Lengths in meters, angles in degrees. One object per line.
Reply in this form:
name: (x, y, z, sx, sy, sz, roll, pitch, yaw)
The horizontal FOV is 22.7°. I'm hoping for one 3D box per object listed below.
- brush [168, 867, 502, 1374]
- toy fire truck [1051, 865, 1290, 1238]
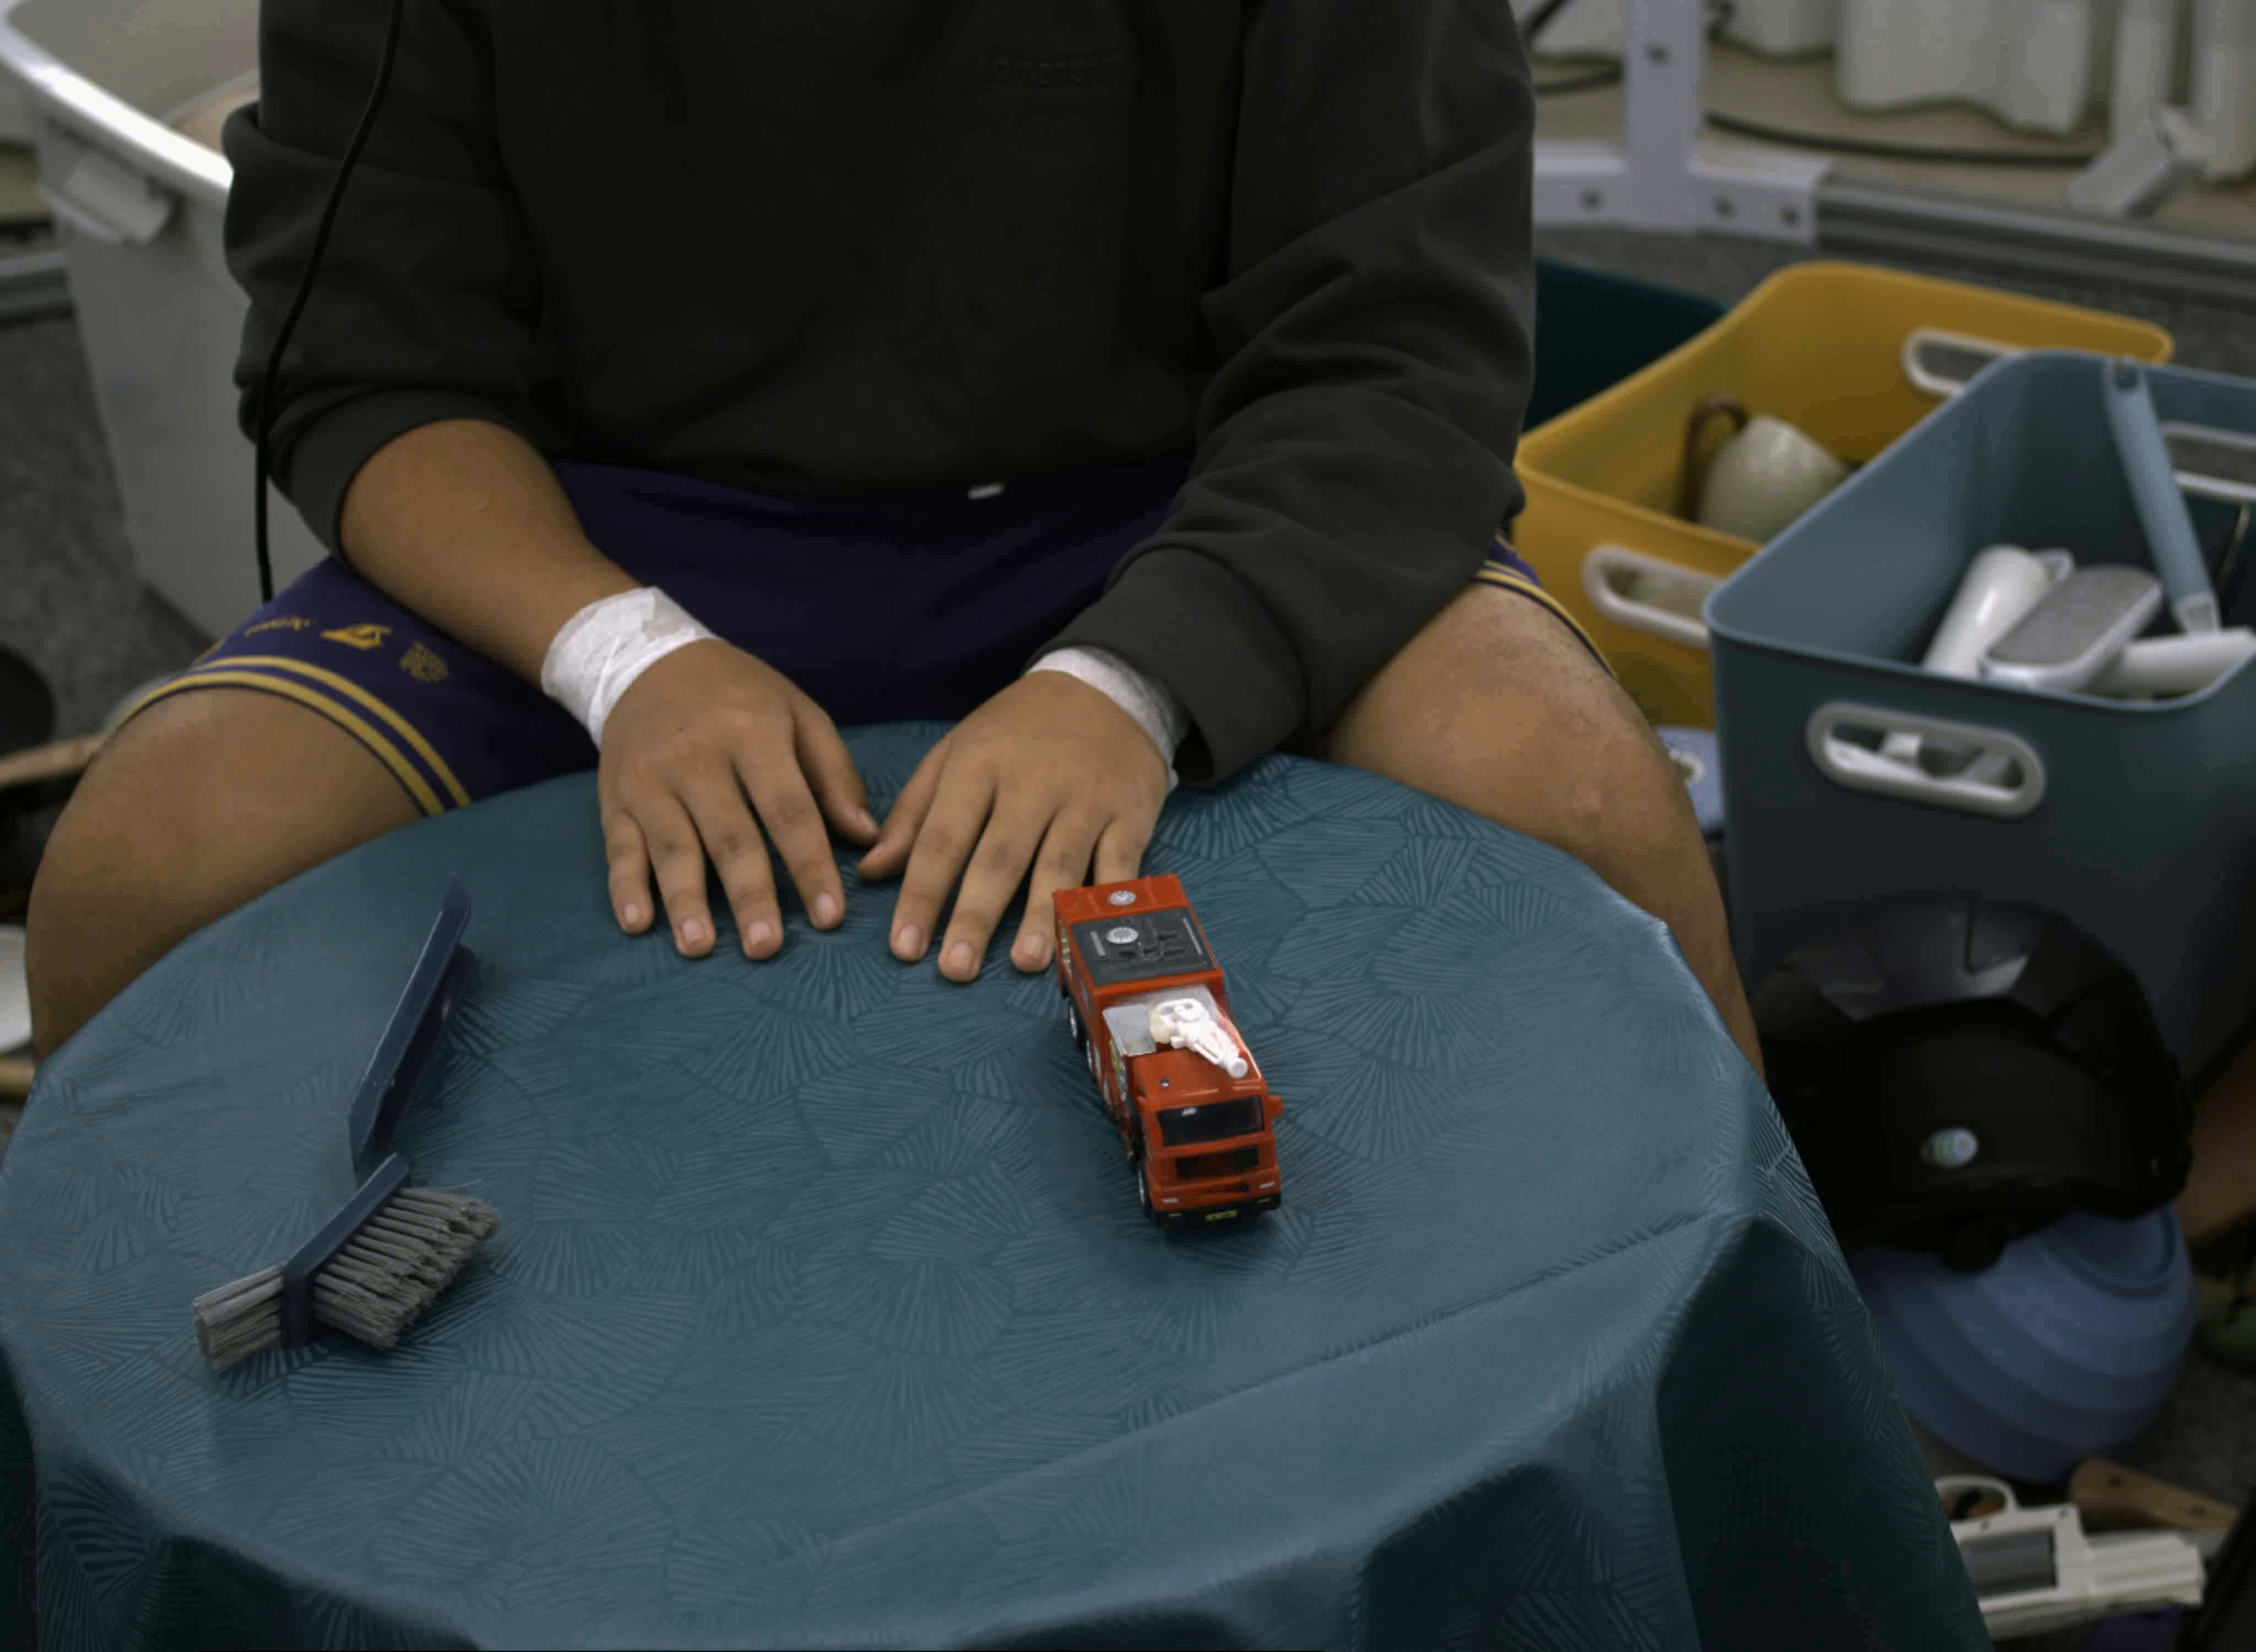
brush: (-0.260, 0.096, 1.903, 0.095, 0.033, 0.277, -4, 28, 1)
toy fire truck: (0.013, 0.074, 1.889, 0.054, 0.069, 0.170, -8, 27, -10)
